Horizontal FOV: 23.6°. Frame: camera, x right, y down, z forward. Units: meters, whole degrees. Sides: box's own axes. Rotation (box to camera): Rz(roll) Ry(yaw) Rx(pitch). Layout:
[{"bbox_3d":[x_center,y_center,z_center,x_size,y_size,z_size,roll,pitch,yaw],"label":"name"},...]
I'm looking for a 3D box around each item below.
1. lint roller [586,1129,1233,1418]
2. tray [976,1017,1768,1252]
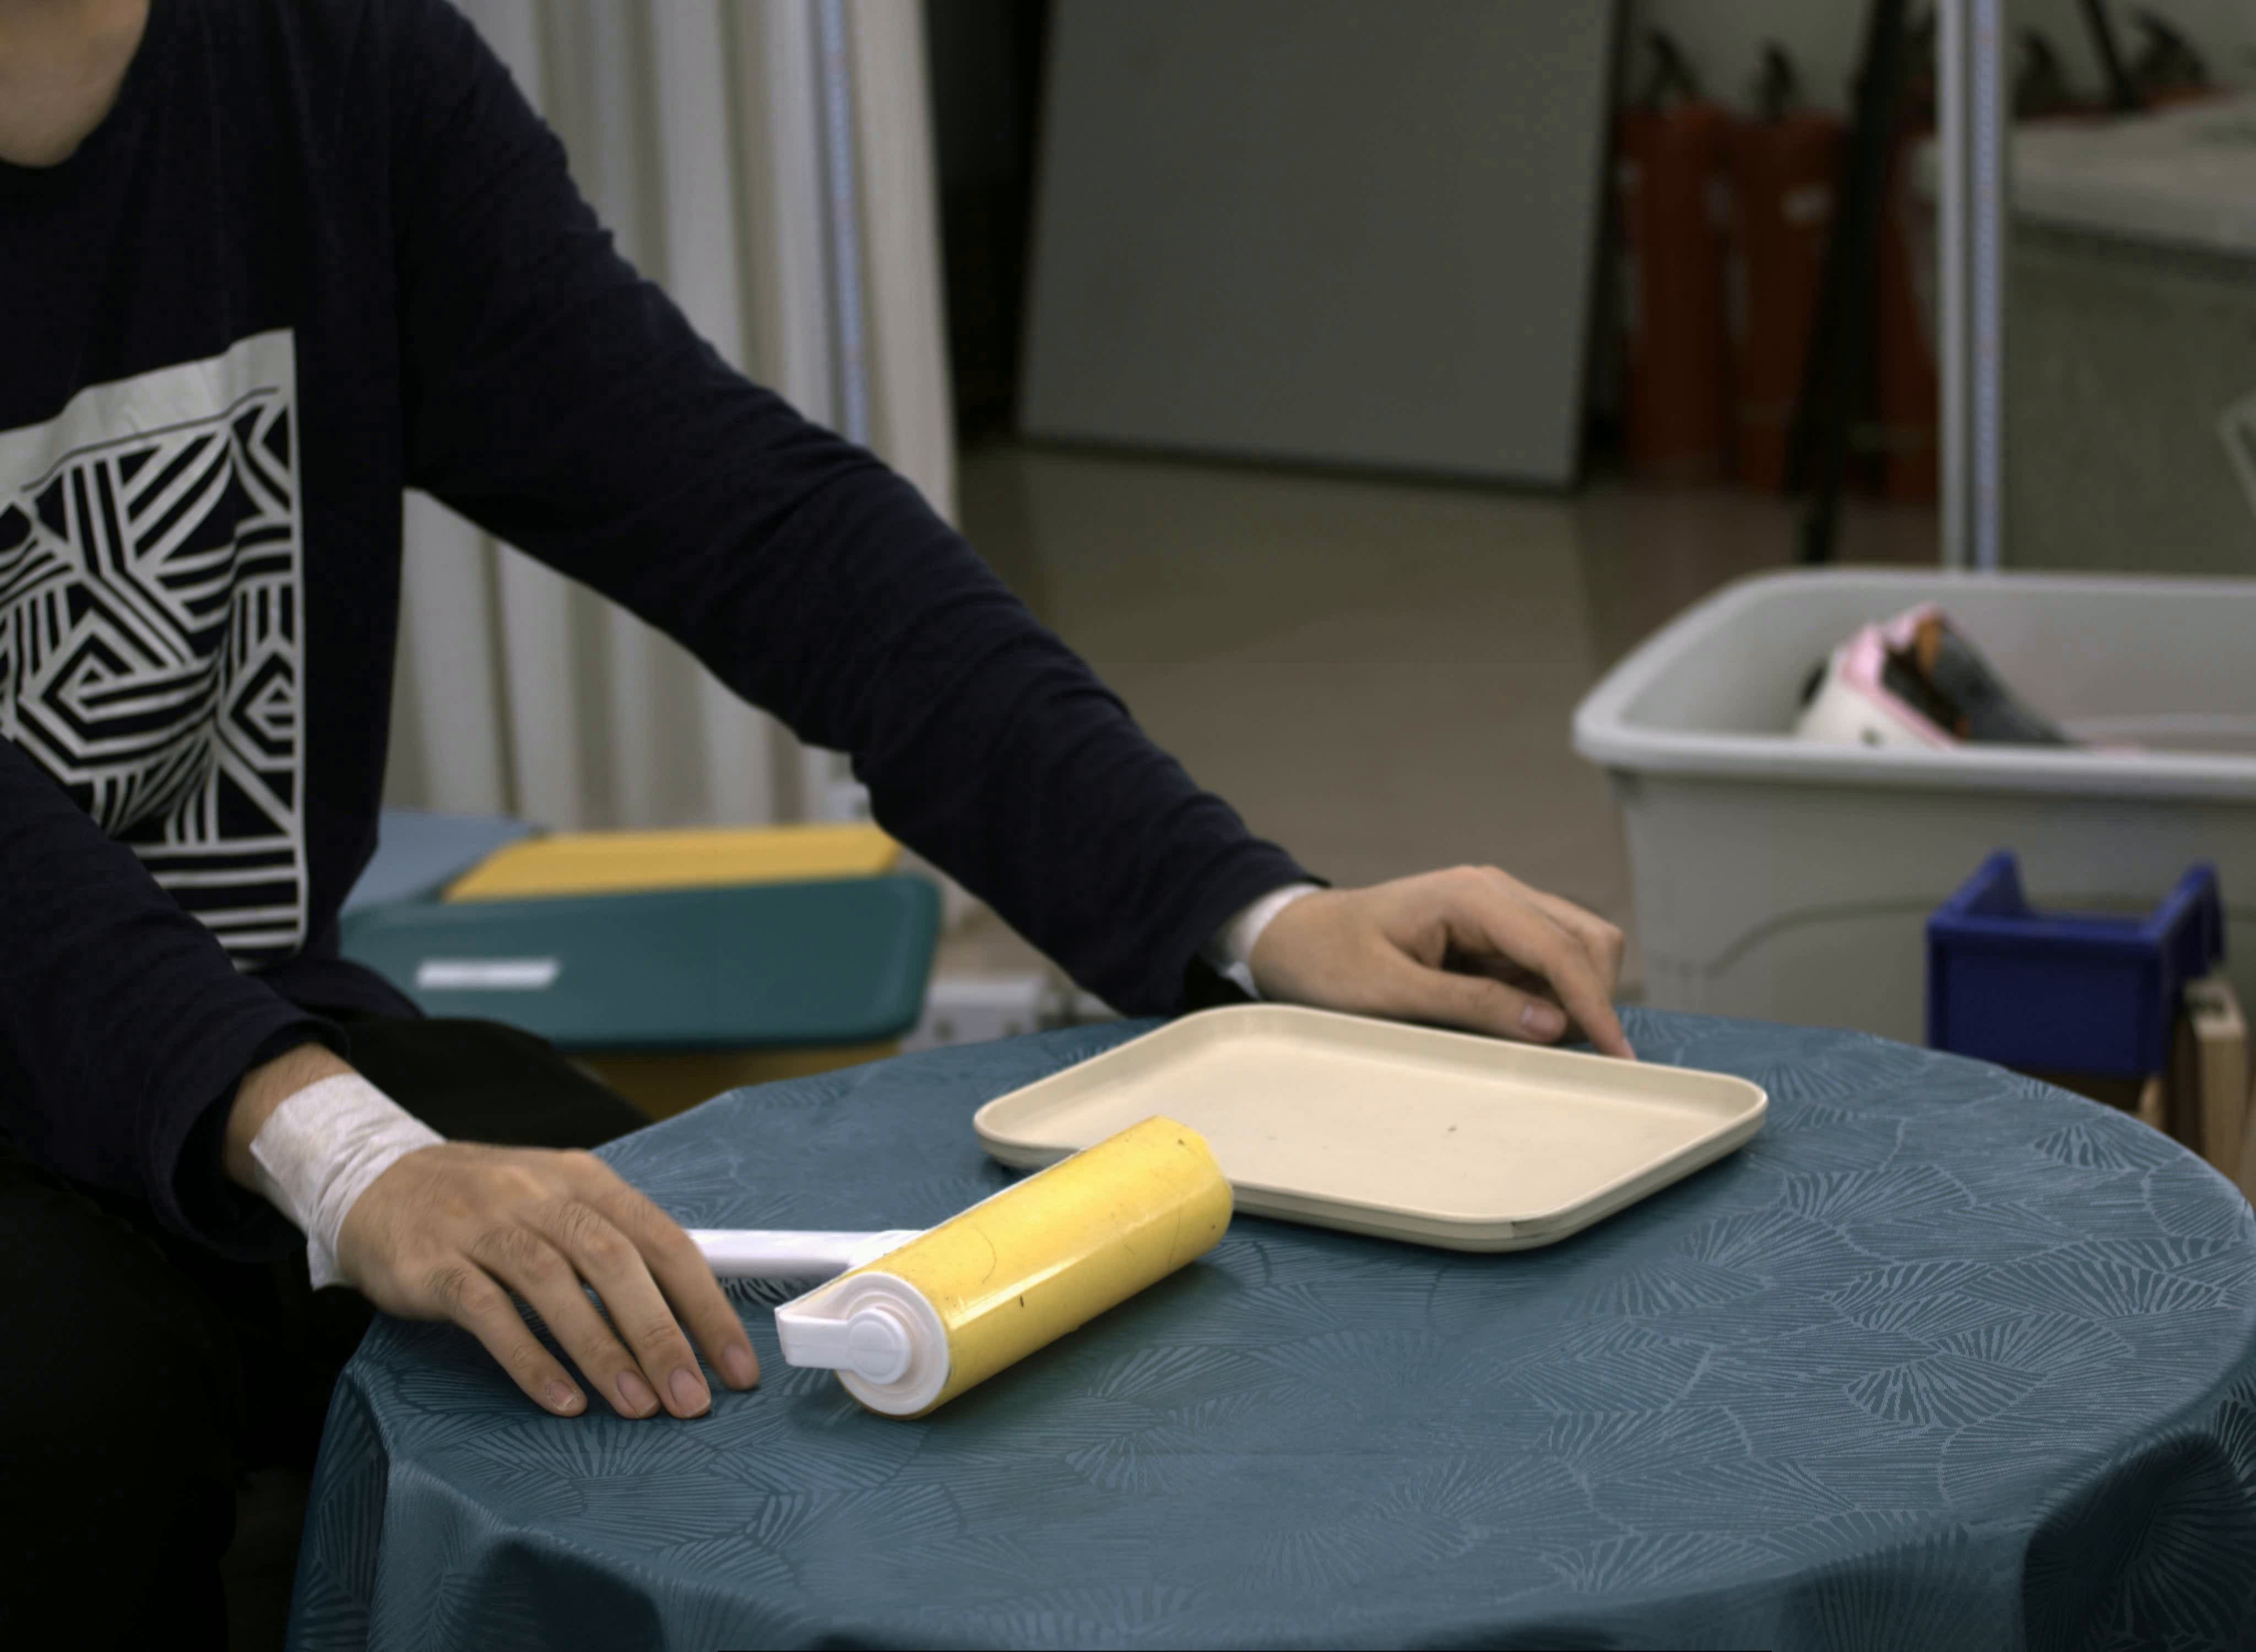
[{"bbox_3d":[-0.088,0.127,1.670,0.193,0.052,0.171,9,17,31],"label":"lint roller"},{"bbox_3d":[0.081,0.102,1.795,0.241,0.017,0.168,7,16,38],"label":"tray"}]
